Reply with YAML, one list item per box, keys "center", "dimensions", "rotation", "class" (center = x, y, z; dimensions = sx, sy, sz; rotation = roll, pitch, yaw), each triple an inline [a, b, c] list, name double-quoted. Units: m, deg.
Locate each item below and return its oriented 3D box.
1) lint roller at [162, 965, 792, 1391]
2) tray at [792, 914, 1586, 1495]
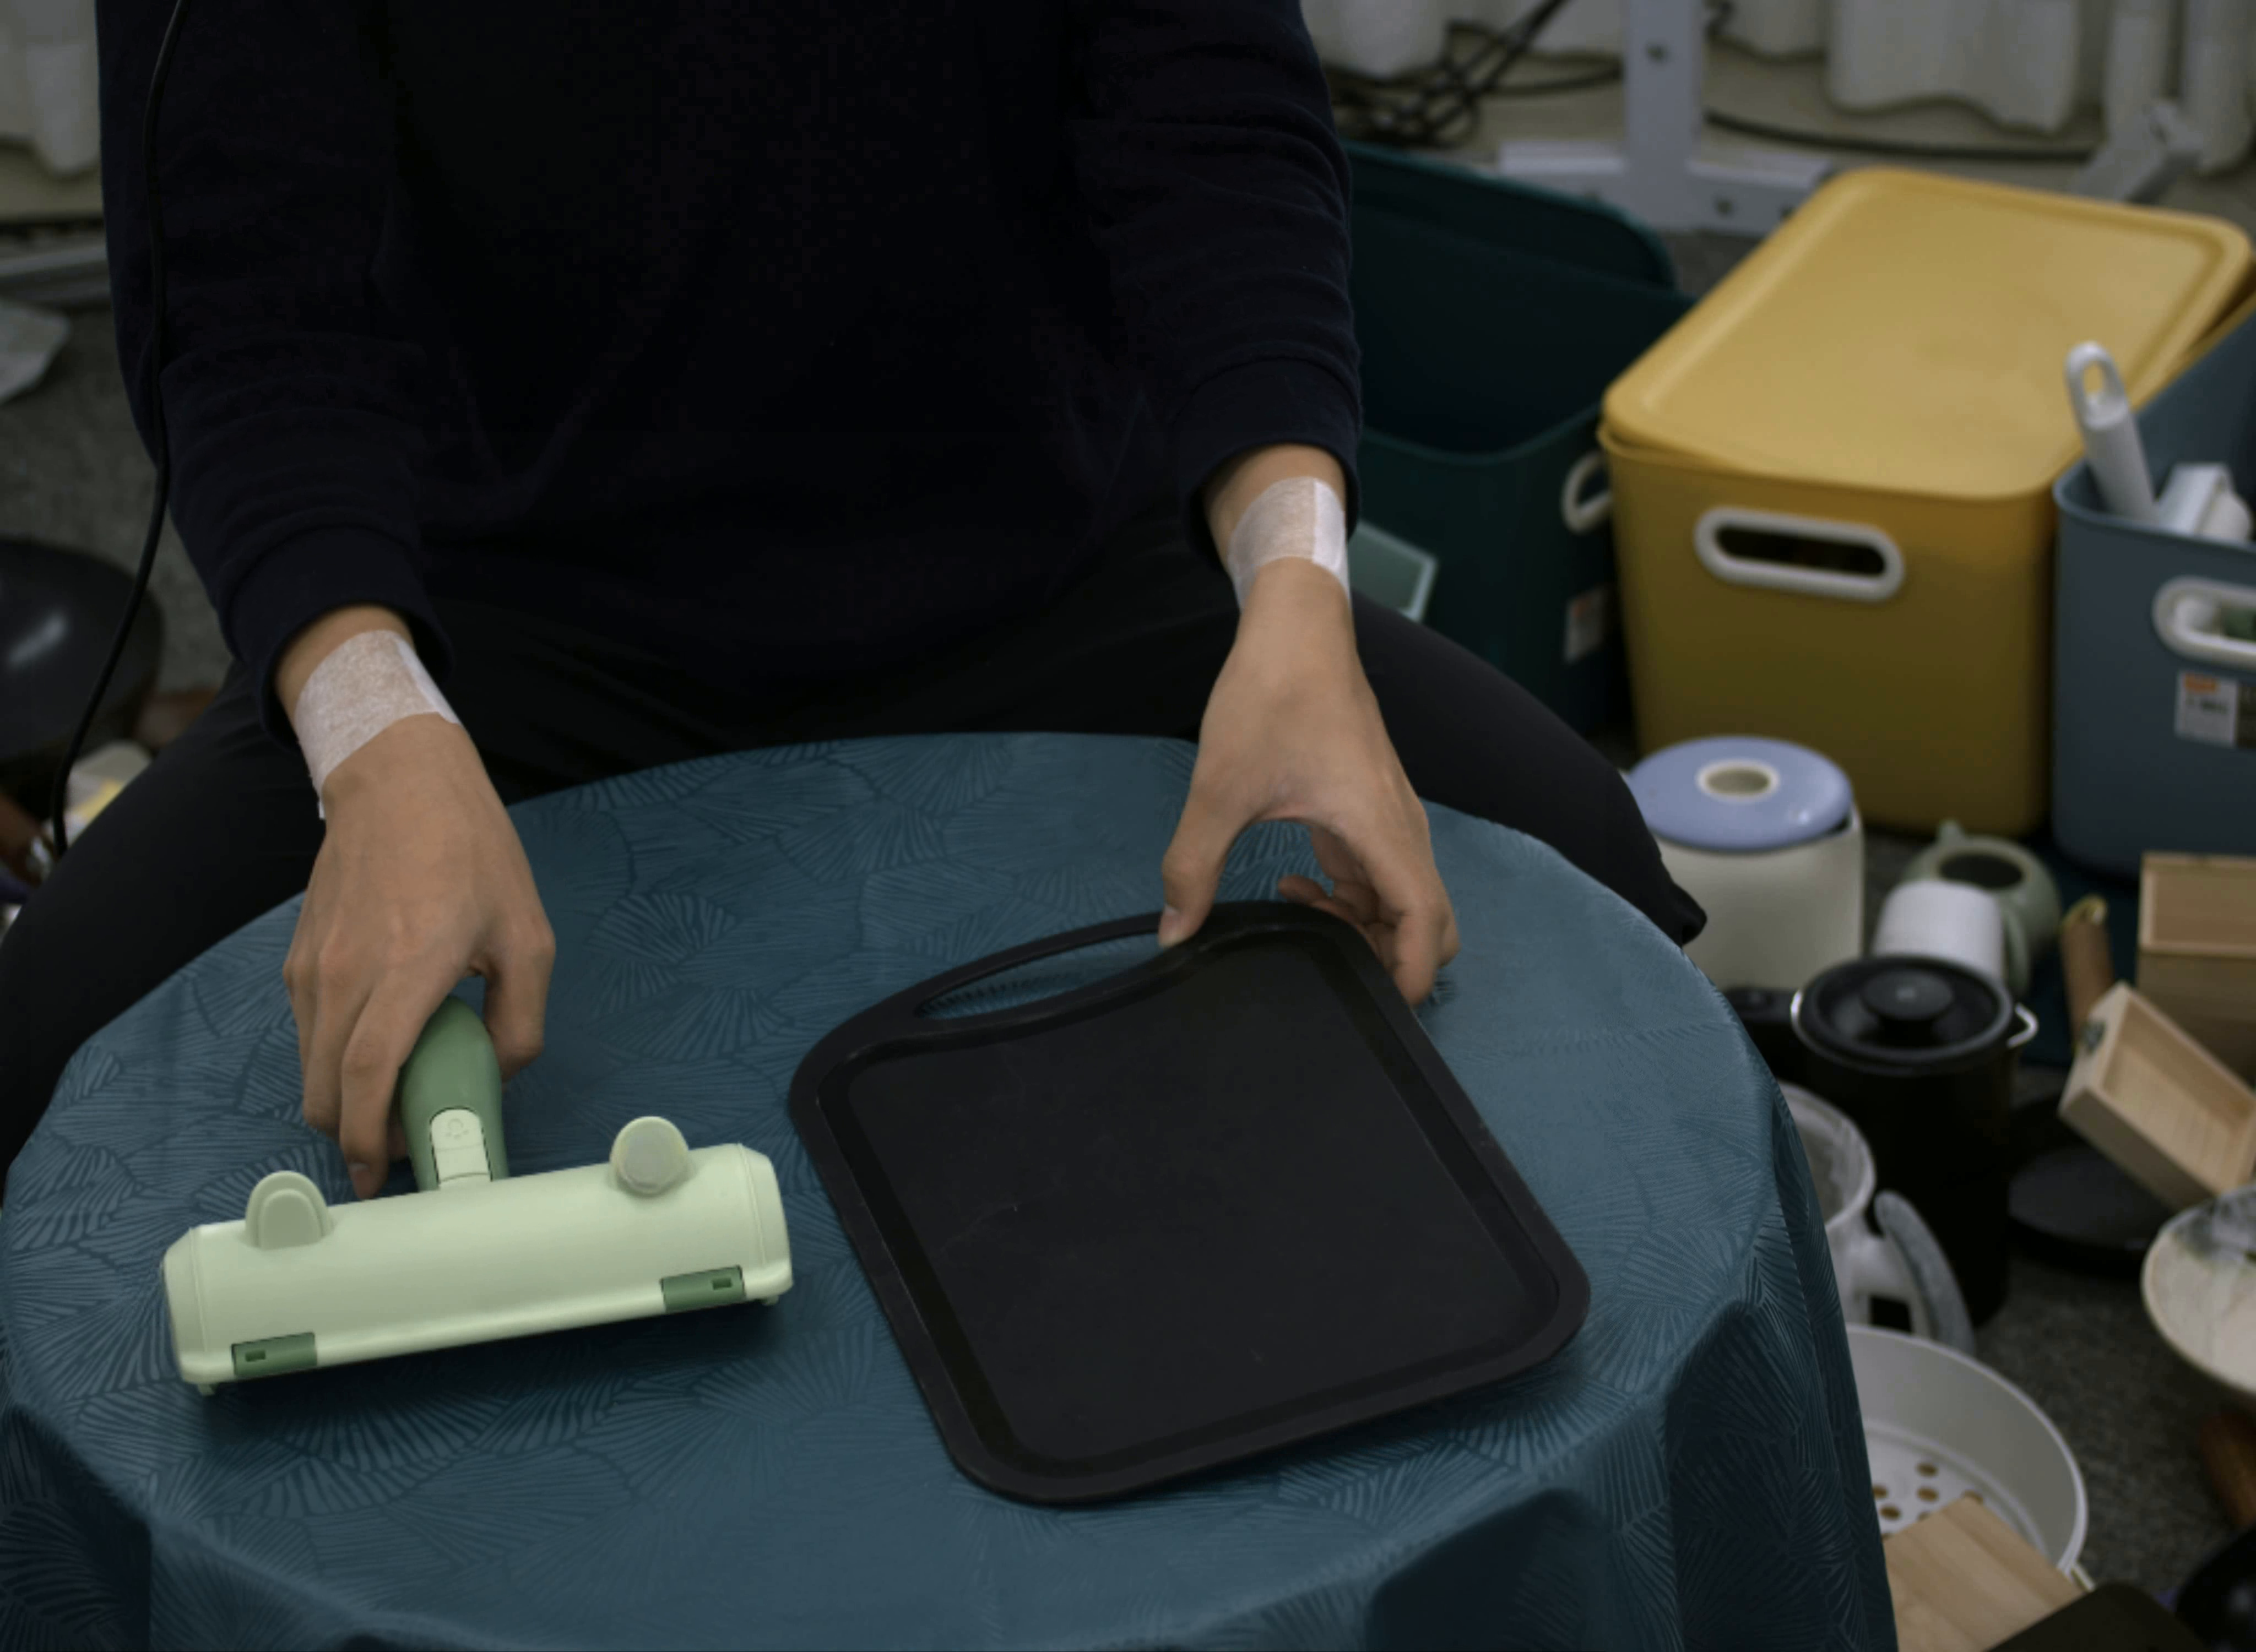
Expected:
- center: [-0.219, 0.096, 1.821]
  dimensions: [0.198, 0.081, 0.186]
  rotation: [-8, 47, -11]
  class: "lint roller"
- center: [0.010, 0.114, 1.850]
  dimensions: [0.211, 0.009, 0.329]
  rotation: [-14, 29, -10]
  class: "tray"
